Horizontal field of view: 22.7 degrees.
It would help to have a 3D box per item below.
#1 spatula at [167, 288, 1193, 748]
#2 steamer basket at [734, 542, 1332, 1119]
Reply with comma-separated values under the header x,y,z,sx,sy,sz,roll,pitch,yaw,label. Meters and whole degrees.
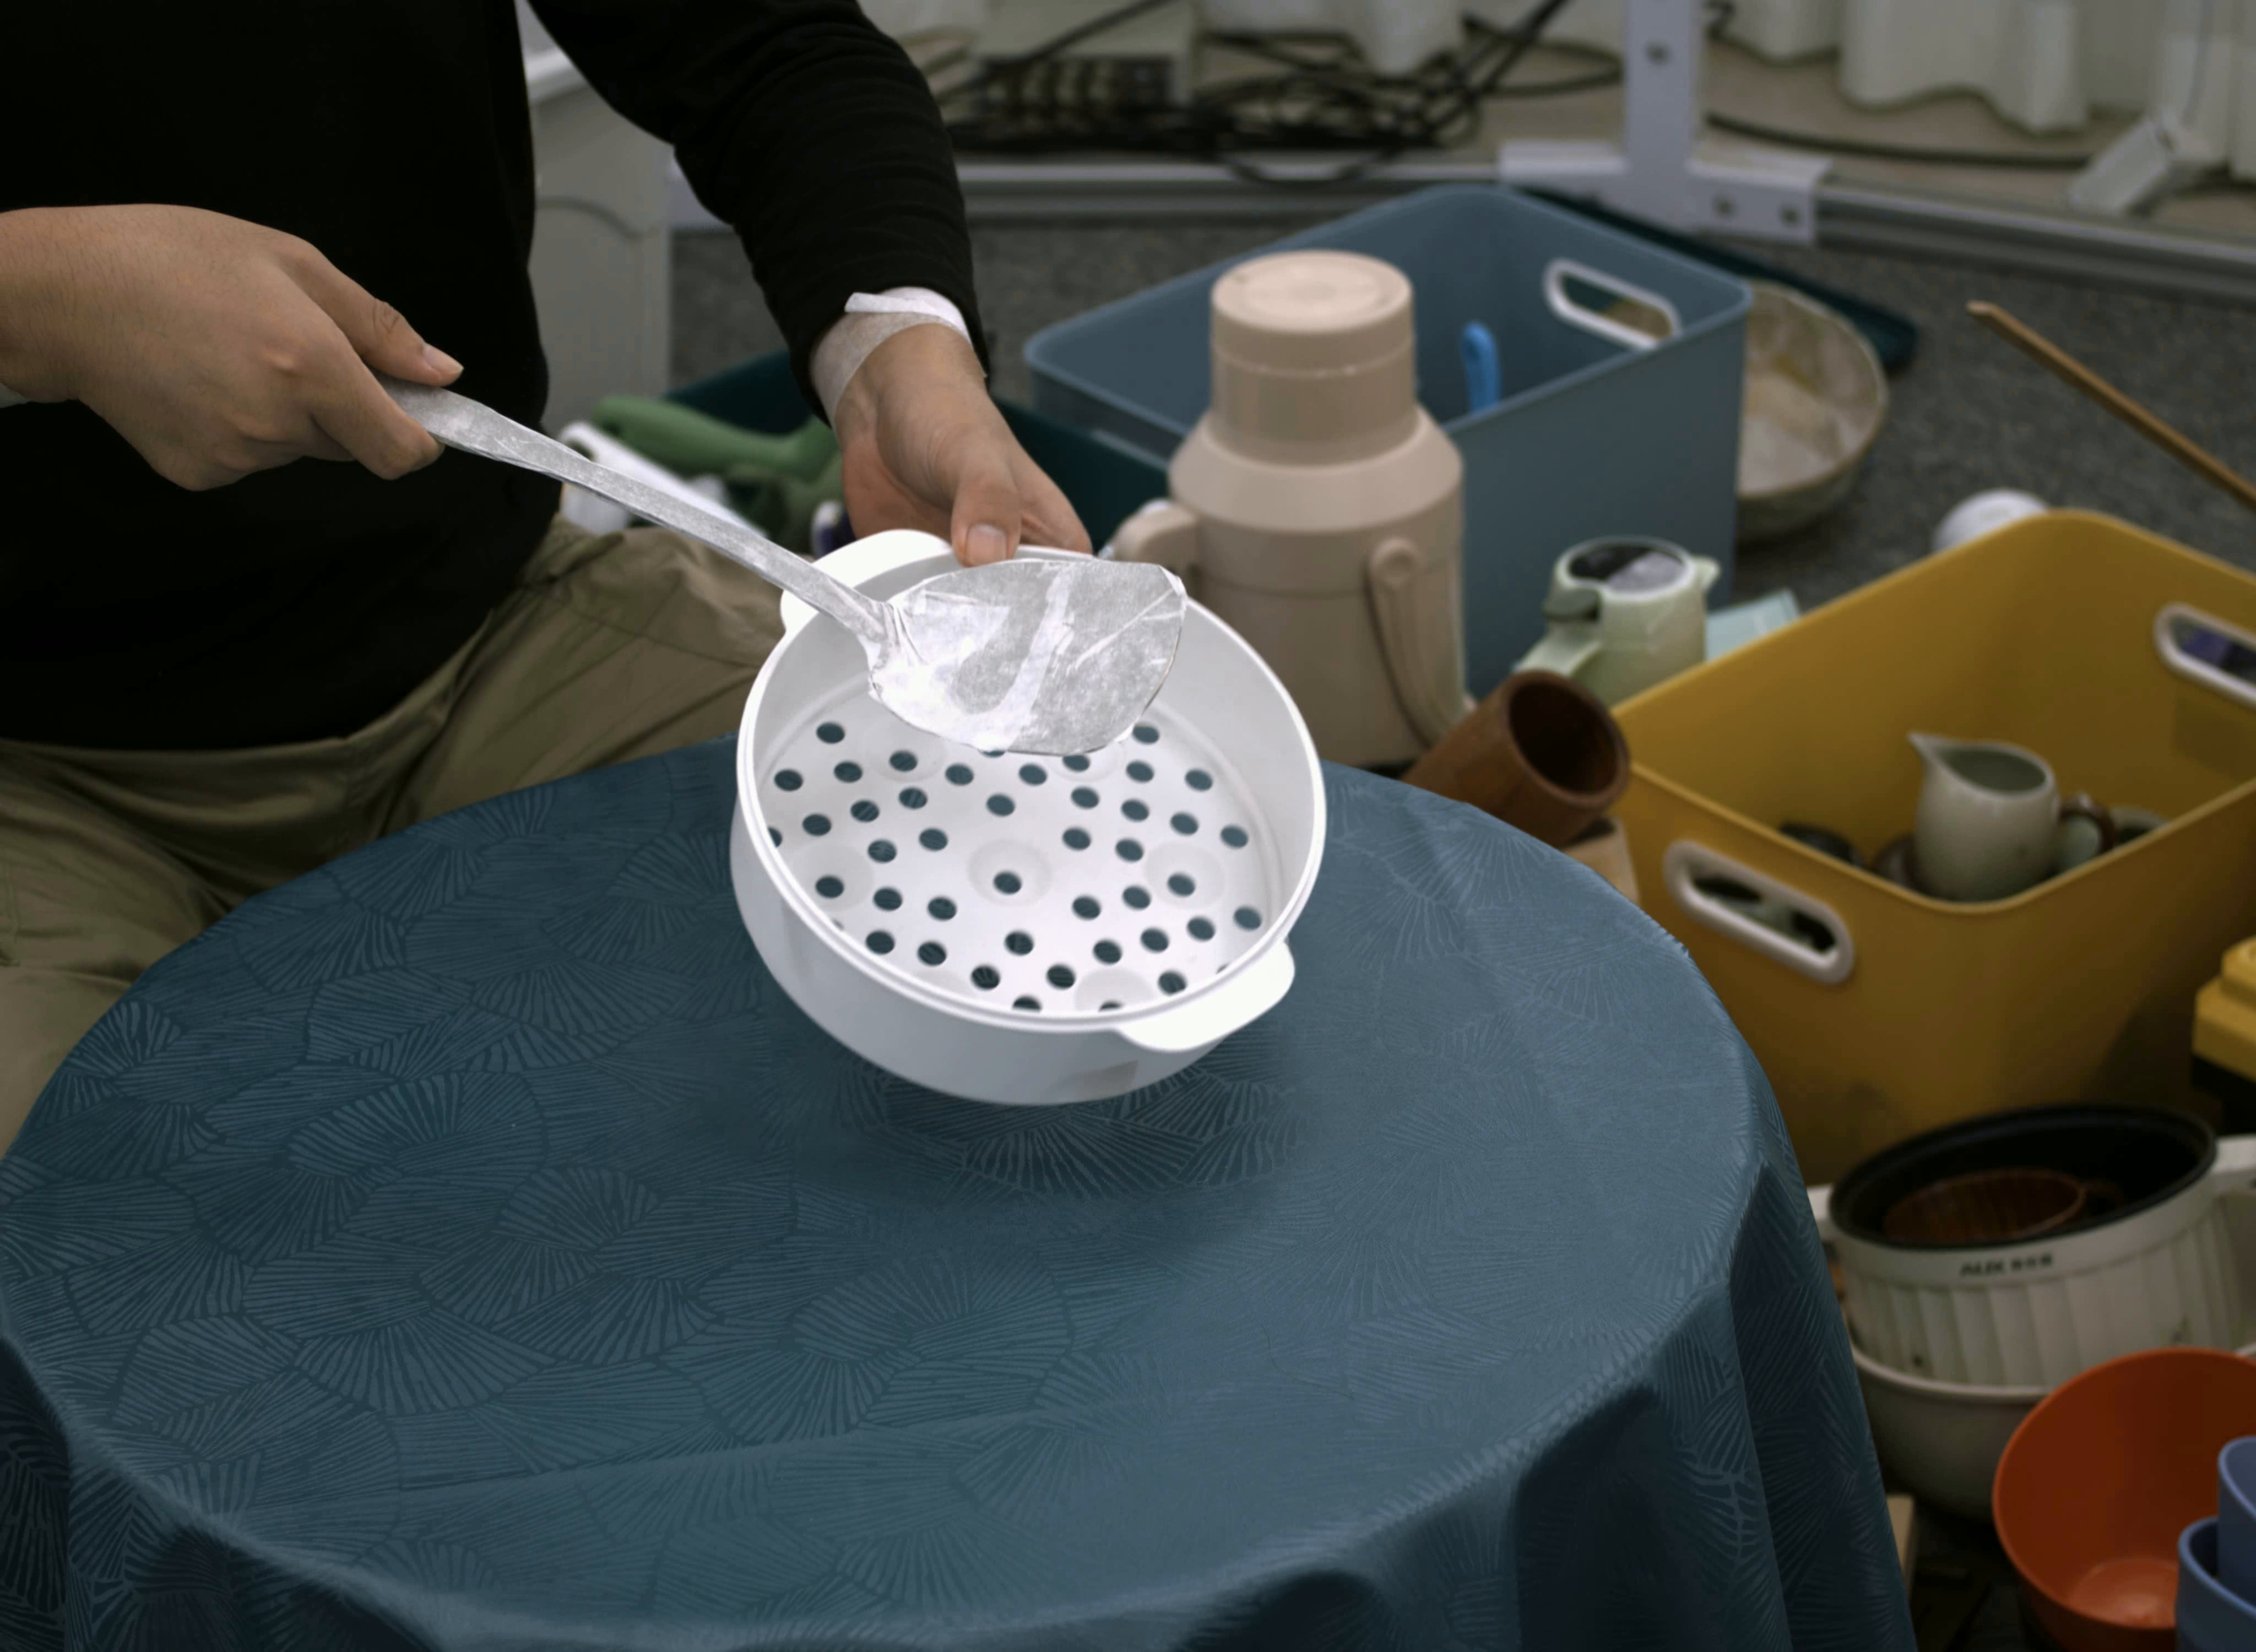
x,y,z,sx,sy,sz,roll,pitch,yaw,label
-0.156,-0.113,1.865,0.364,0.044,0.101,23,48,2,spatula
-0.035,0.006,1.902,0.204,0.068,0.232,-25,61,-29,steamer basket
